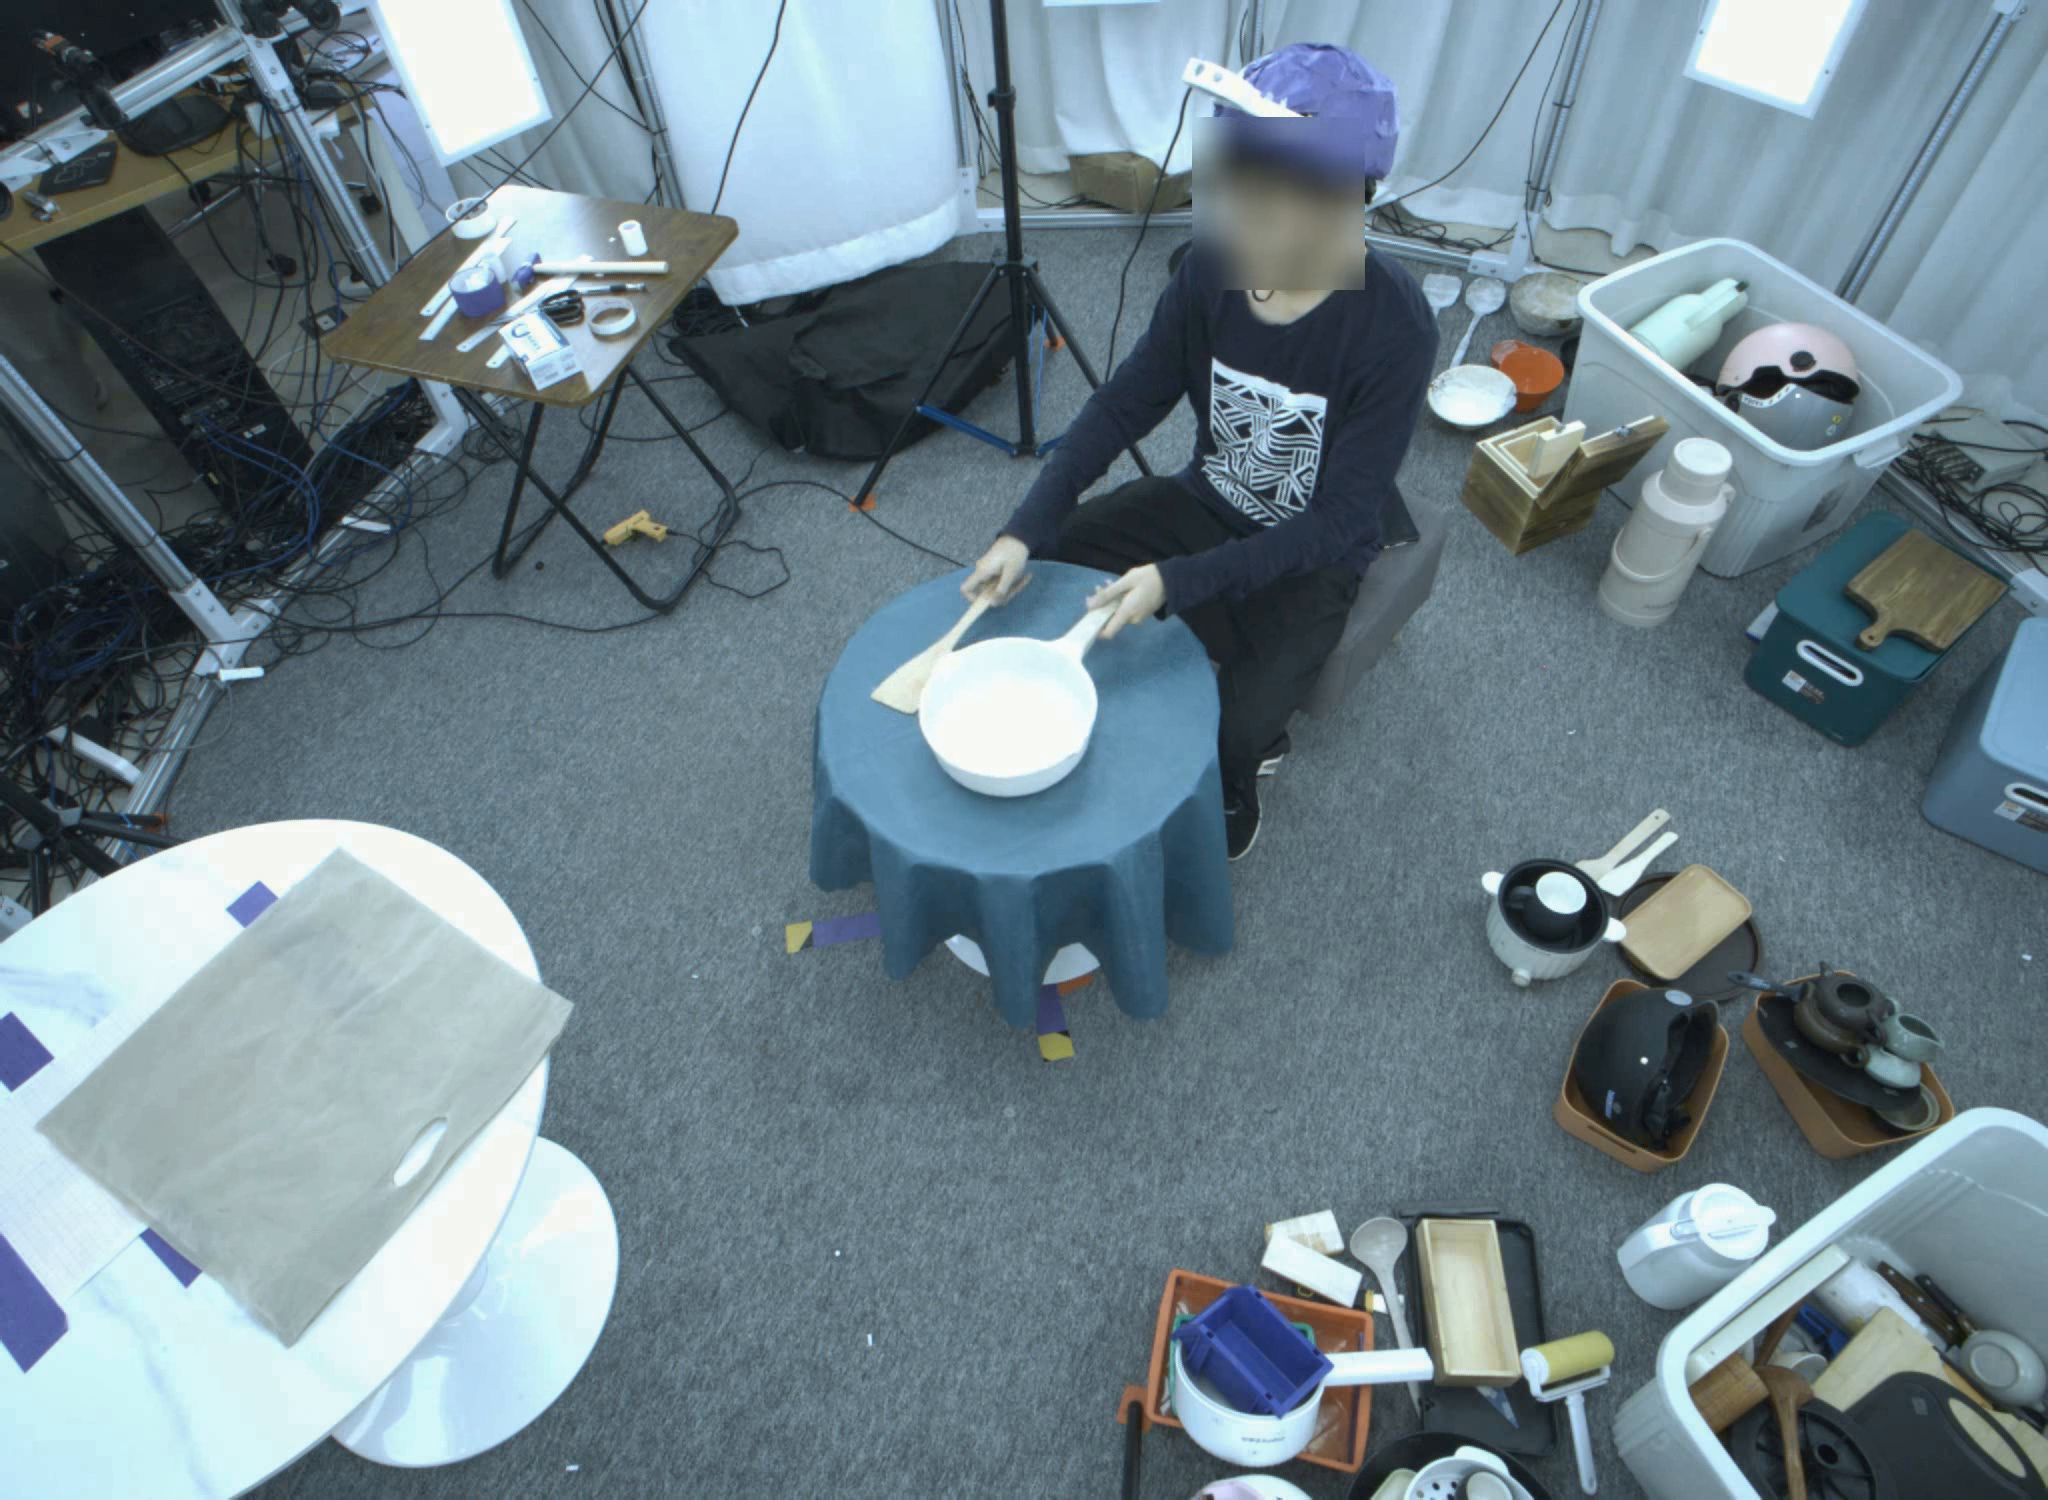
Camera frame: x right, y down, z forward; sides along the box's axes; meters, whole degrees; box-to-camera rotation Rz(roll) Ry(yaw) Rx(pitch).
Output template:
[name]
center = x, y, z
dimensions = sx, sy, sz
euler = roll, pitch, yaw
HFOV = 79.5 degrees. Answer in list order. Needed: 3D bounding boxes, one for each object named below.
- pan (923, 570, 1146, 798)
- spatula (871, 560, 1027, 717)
[pan]
center = 0.043, -0.101, 1.798
dimensions = 0.259, 0.103, 0.437
euler = 33, 61, 24
[spatula]
center = -0.103, -0.176, 1.883
dimensions = 0.078, 0.017, 0.328
euler = 34, 74, 23
